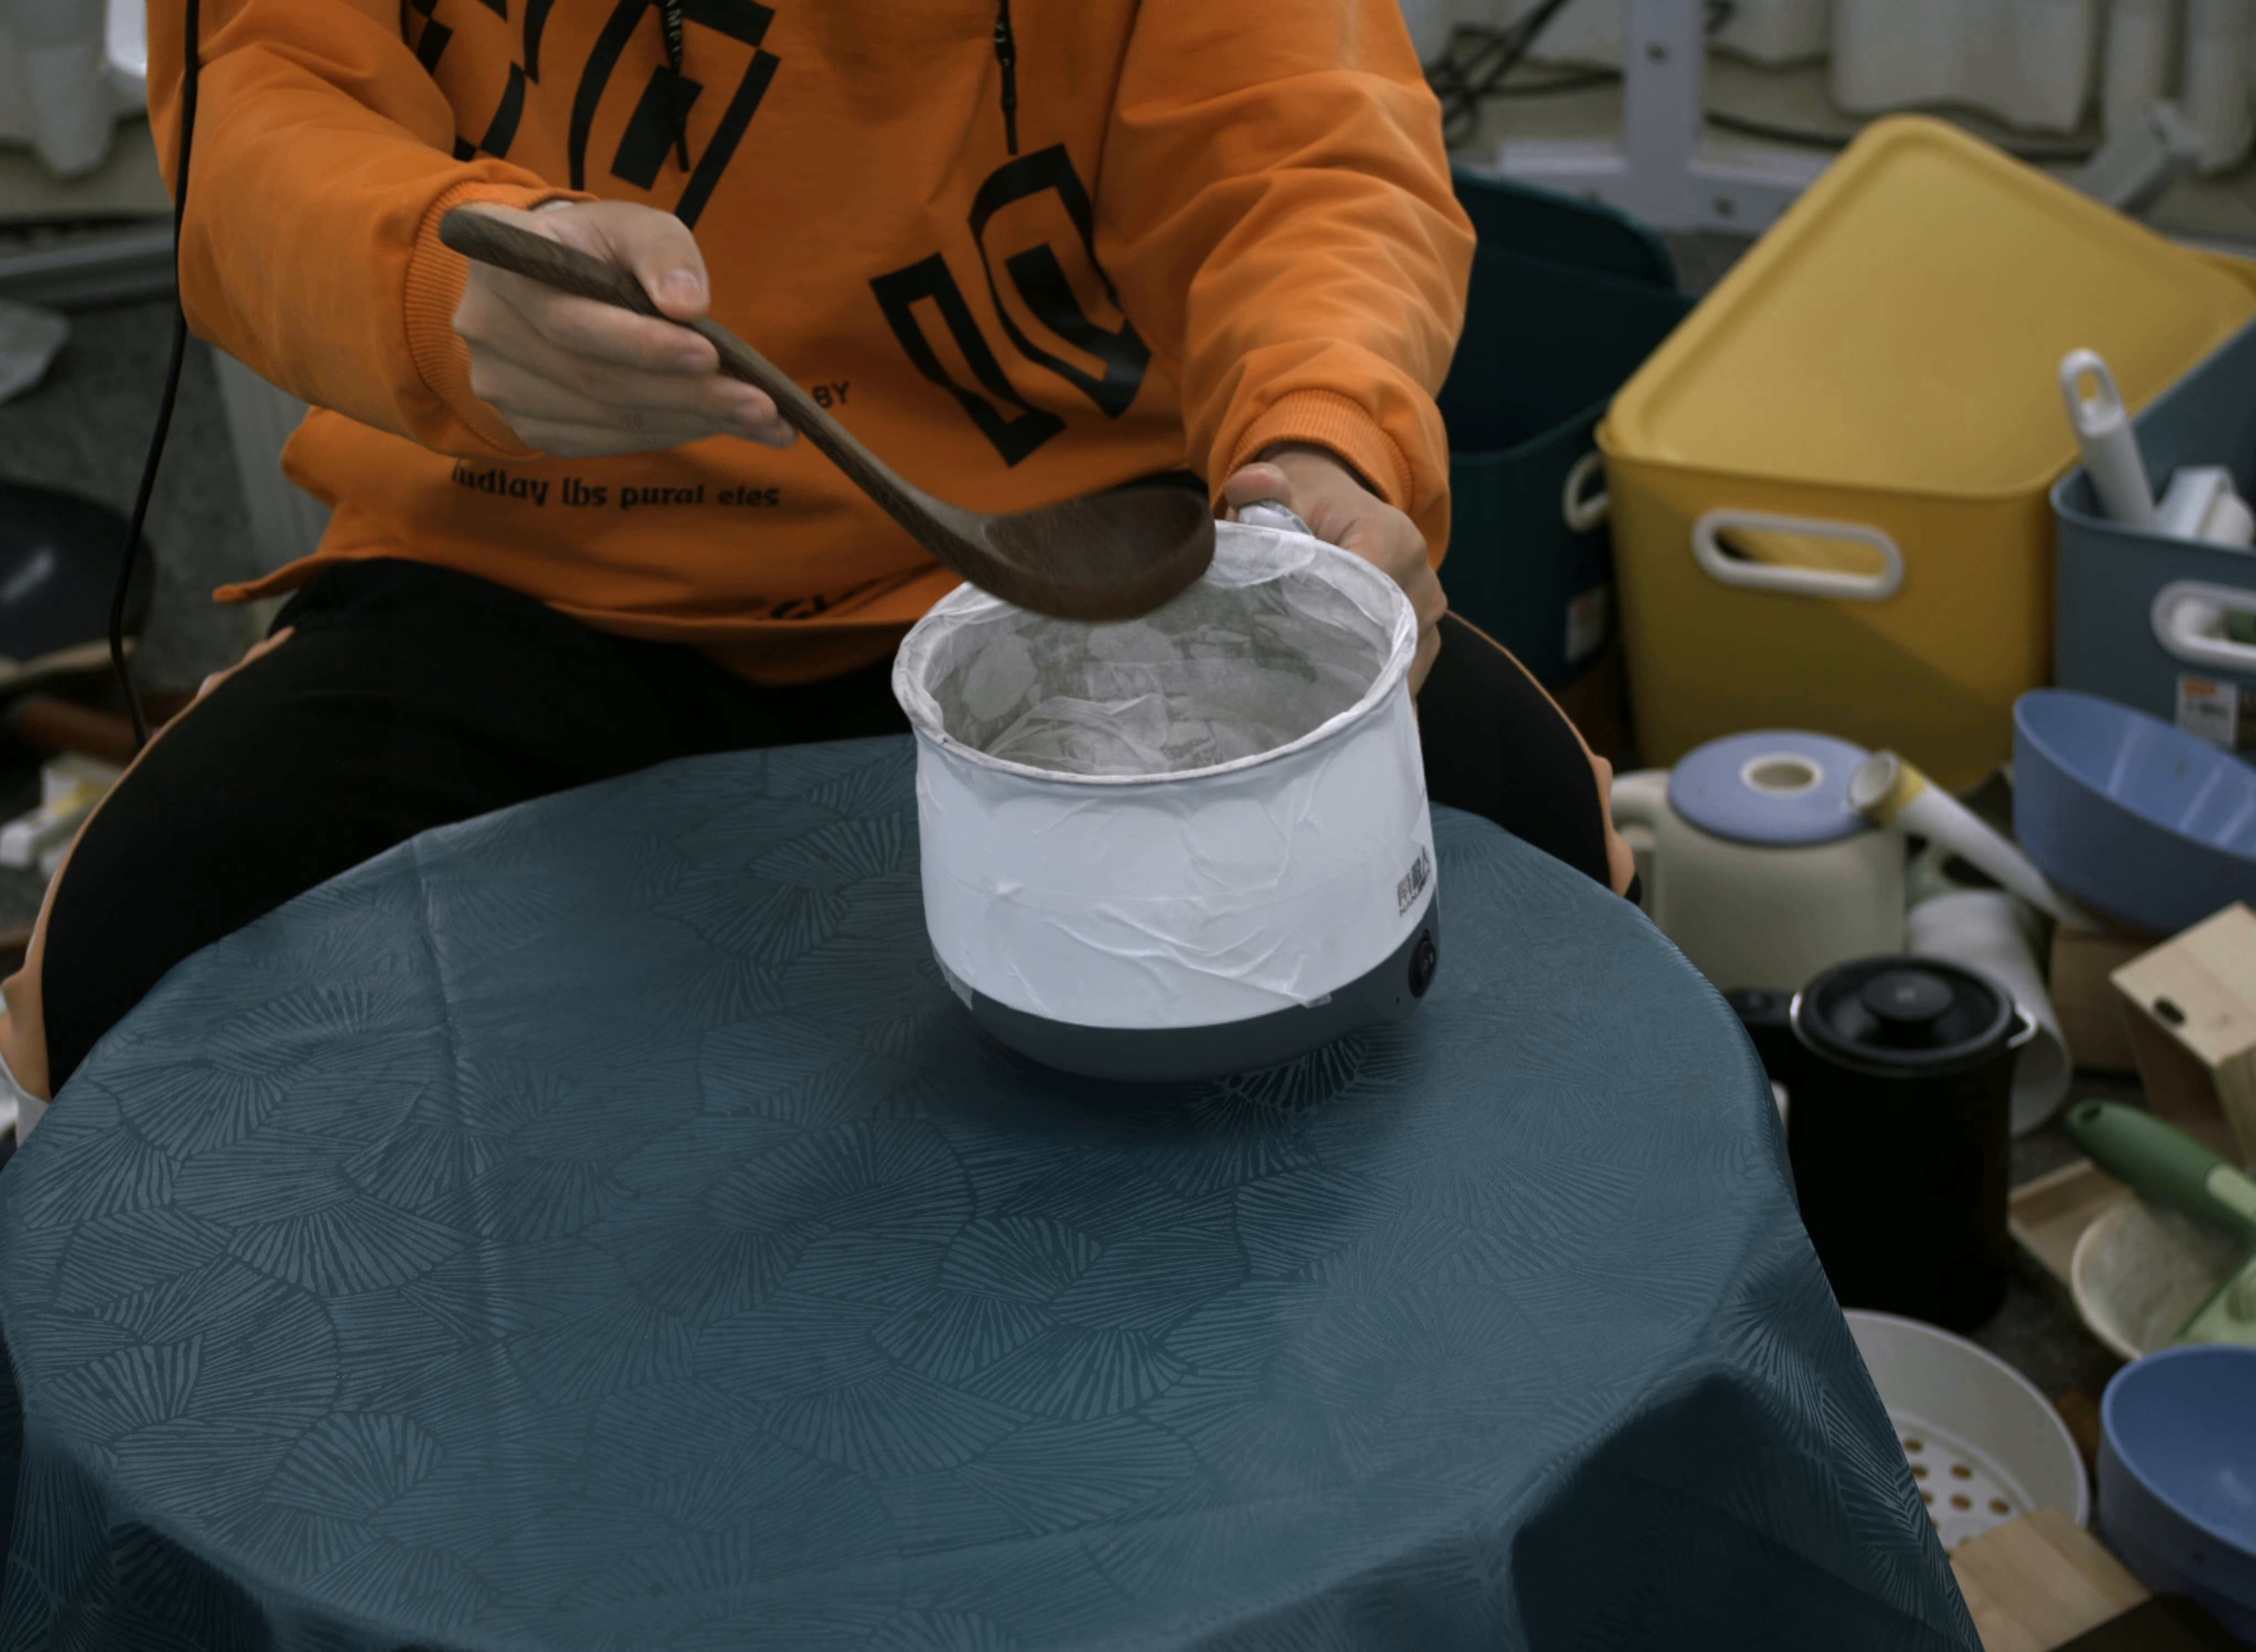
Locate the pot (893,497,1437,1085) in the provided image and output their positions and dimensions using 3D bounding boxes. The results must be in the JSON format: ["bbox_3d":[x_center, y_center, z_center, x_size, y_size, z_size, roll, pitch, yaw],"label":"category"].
[{"bbox_3d":[0.024,-0.020,1.939,0.177,0.135,0.238,6,32,20],"label":"pot"}]

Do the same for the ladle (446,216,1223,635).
[{"bbox_3d":[-0.090,-0.144,1.834,0.273,0.071,0.077,34,11,-20],"label":"ladle"}]
